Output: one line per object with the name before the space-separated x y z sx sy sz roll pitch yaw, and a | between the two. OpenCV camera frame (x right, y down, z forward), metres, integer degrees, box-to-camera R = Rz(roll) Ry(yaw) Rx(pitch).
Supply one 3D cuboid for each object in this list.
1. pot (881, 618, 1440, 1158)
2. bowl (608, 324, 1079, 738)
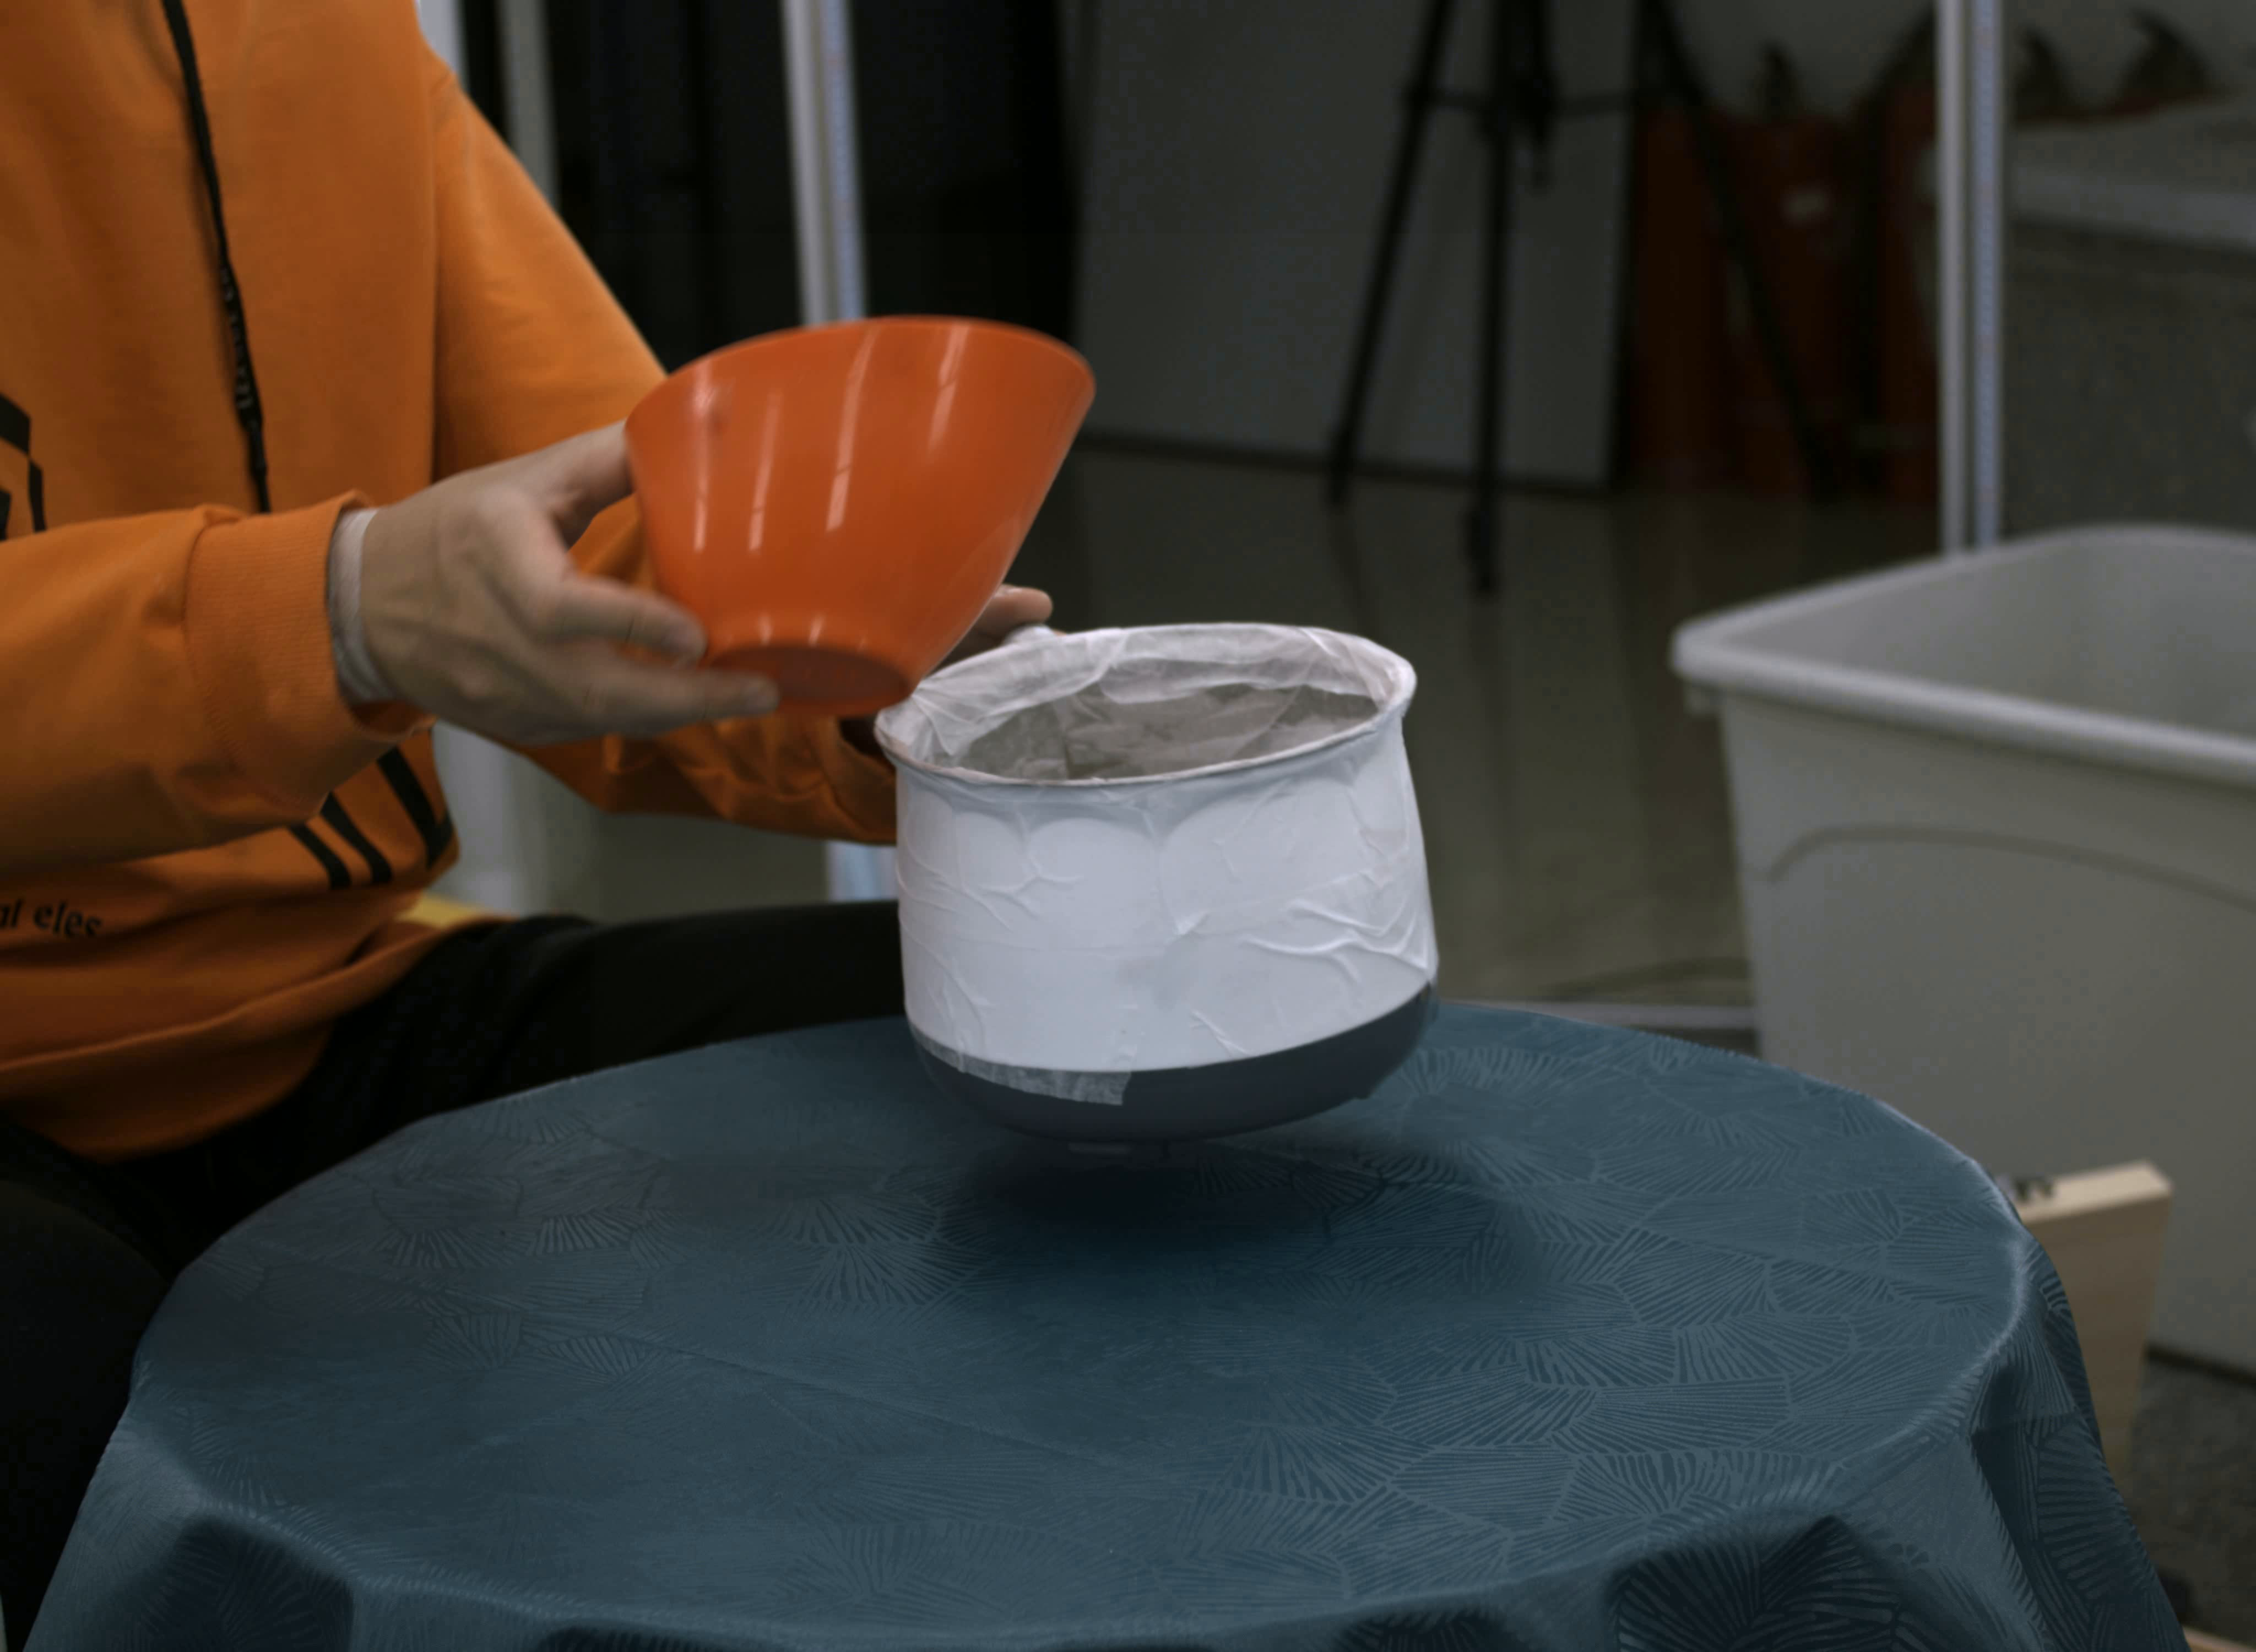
pot | 0.001 0.013 1.780 0.175 0.138 0.236 -12 17 -21
bowl | -0.088 -0.086 1.669 0.146 0.106 0.148 1 -19 0
